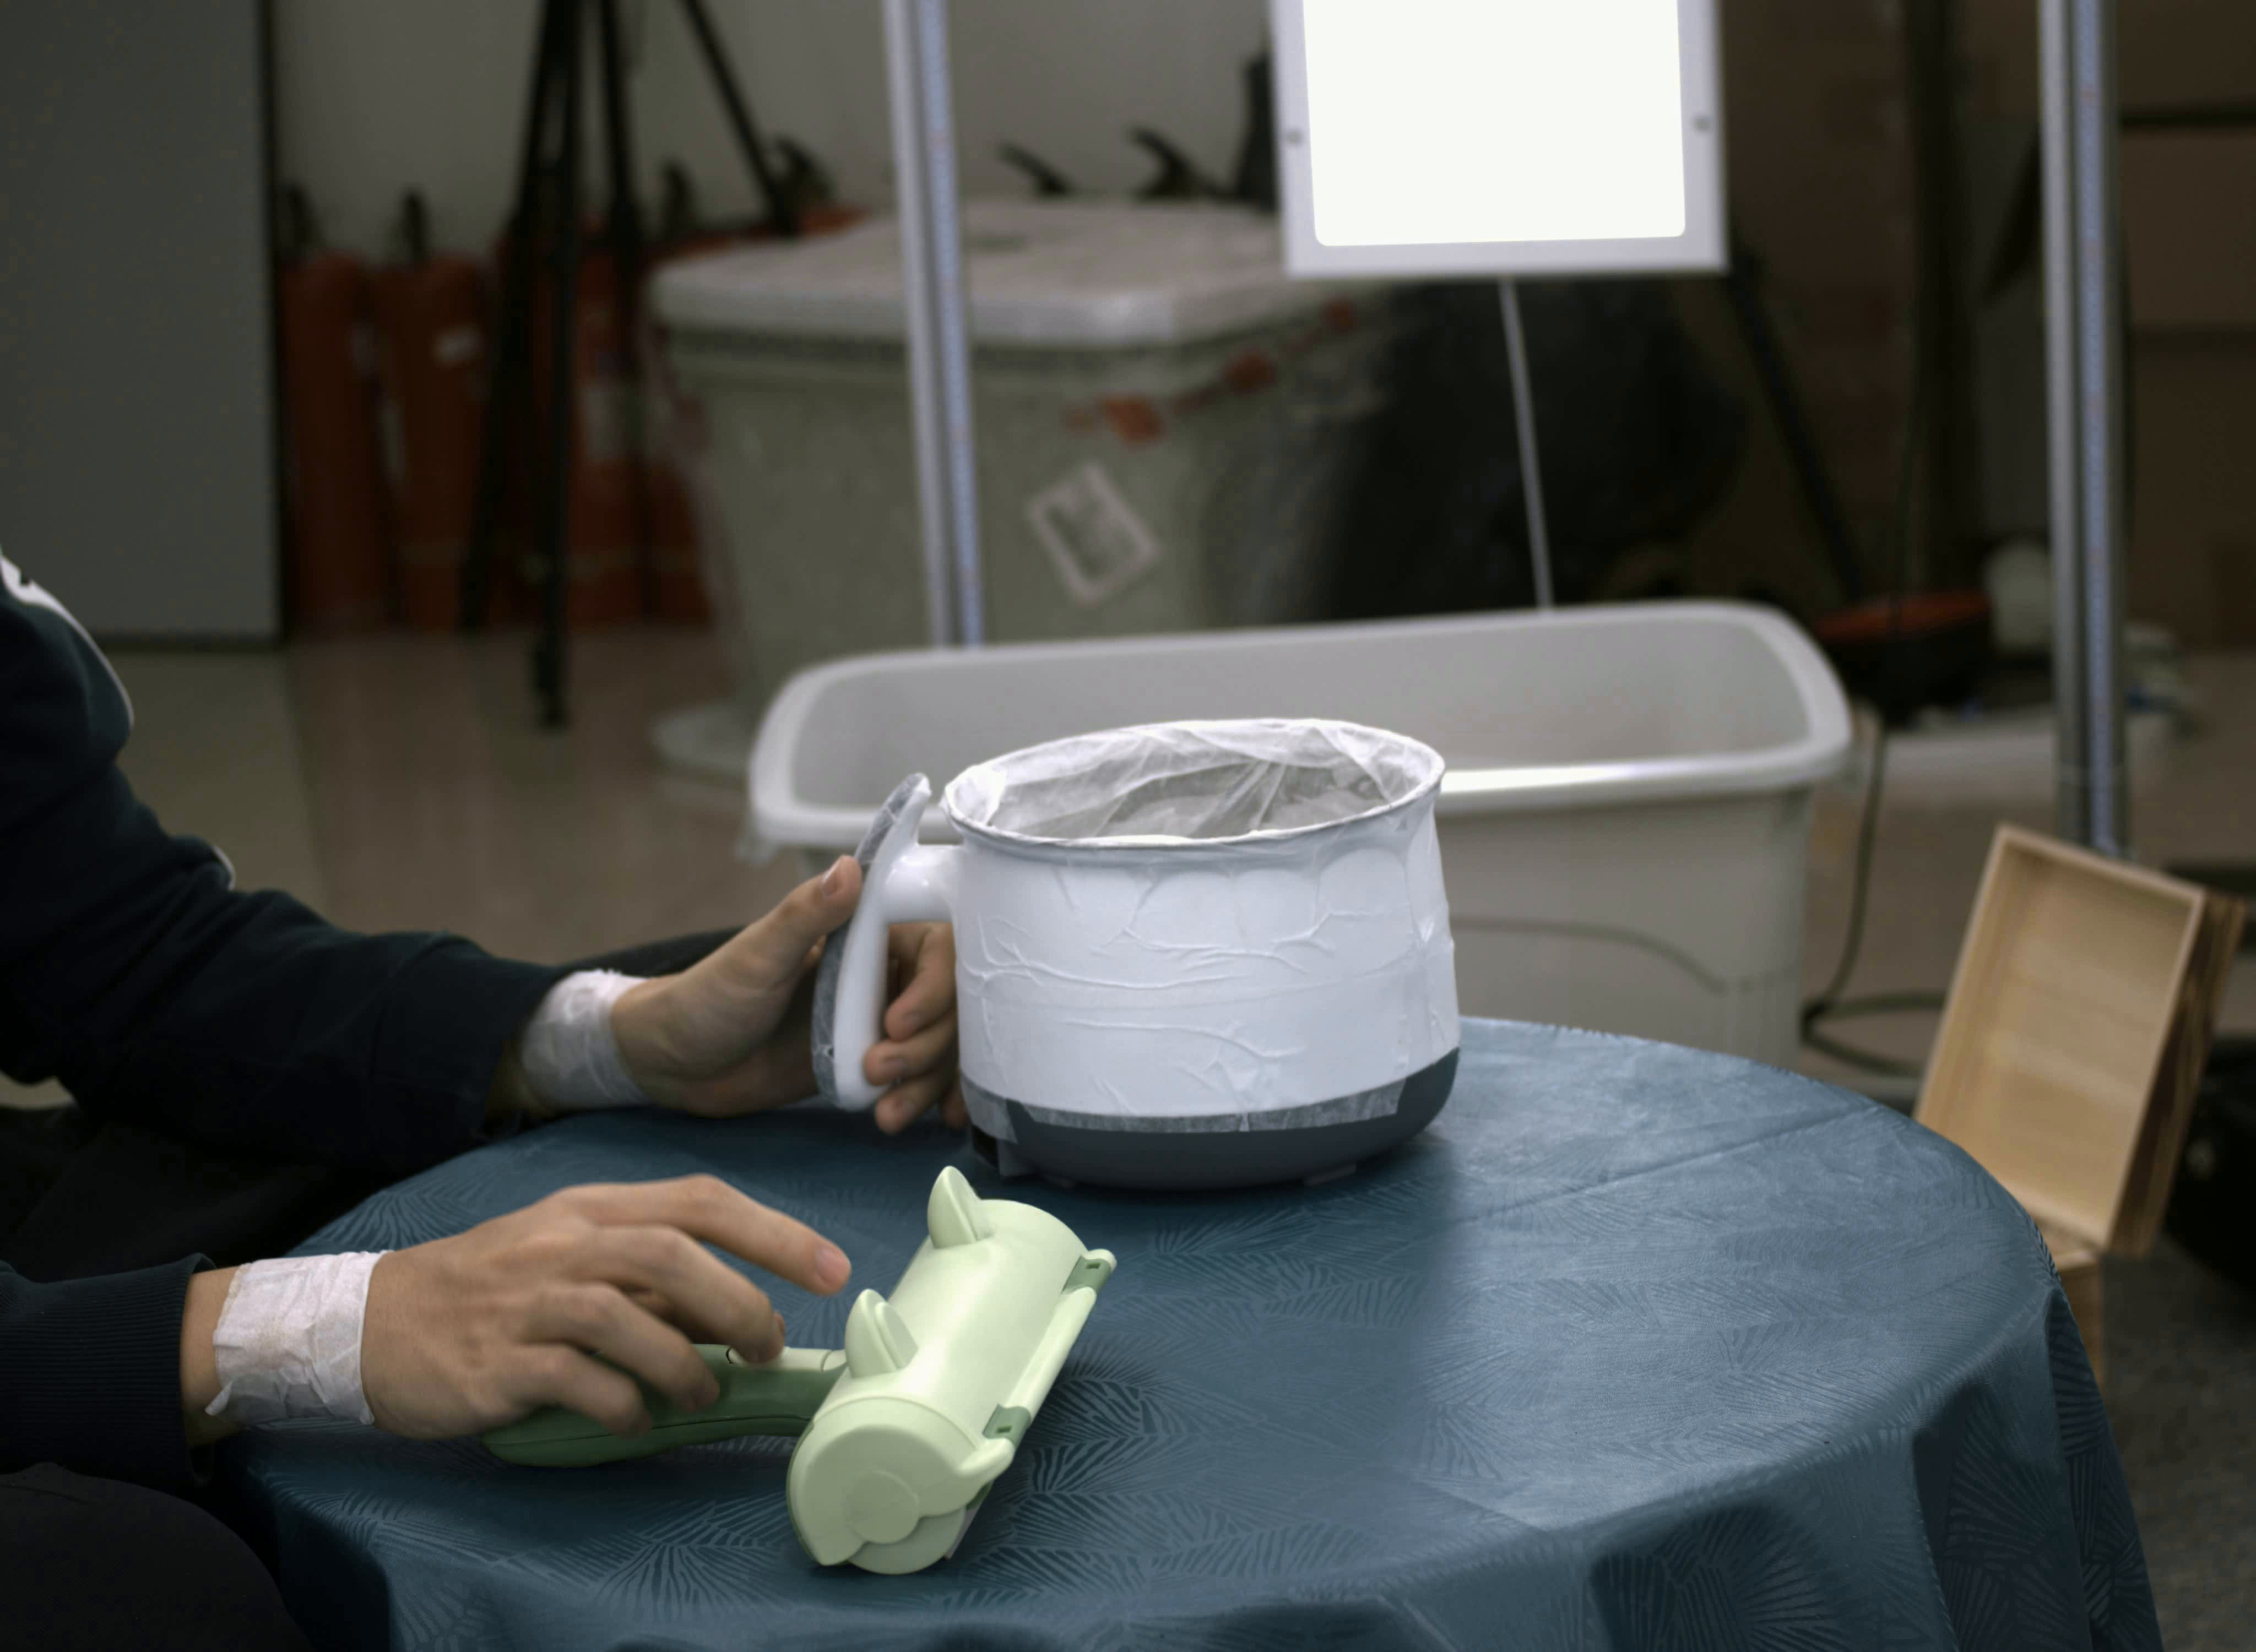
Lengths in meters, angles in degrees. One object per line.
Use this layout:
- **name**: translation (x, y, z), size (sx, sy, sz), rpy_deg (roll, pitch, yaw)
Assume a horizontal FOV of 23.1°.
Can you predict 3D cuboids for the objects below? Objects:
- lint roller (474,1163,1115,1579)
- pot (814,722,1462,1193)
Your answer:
- **lint roller**: translation (-0.109, 0.156, 1.658), size (0.184, 0.082, 0.196), rpy_deg (3, 15, 11)
- **pot**: translation (0.001, 0.046, 1.935), size (0.235, 0.137, 0.176), rpy_deg (-2, 14, 12)
